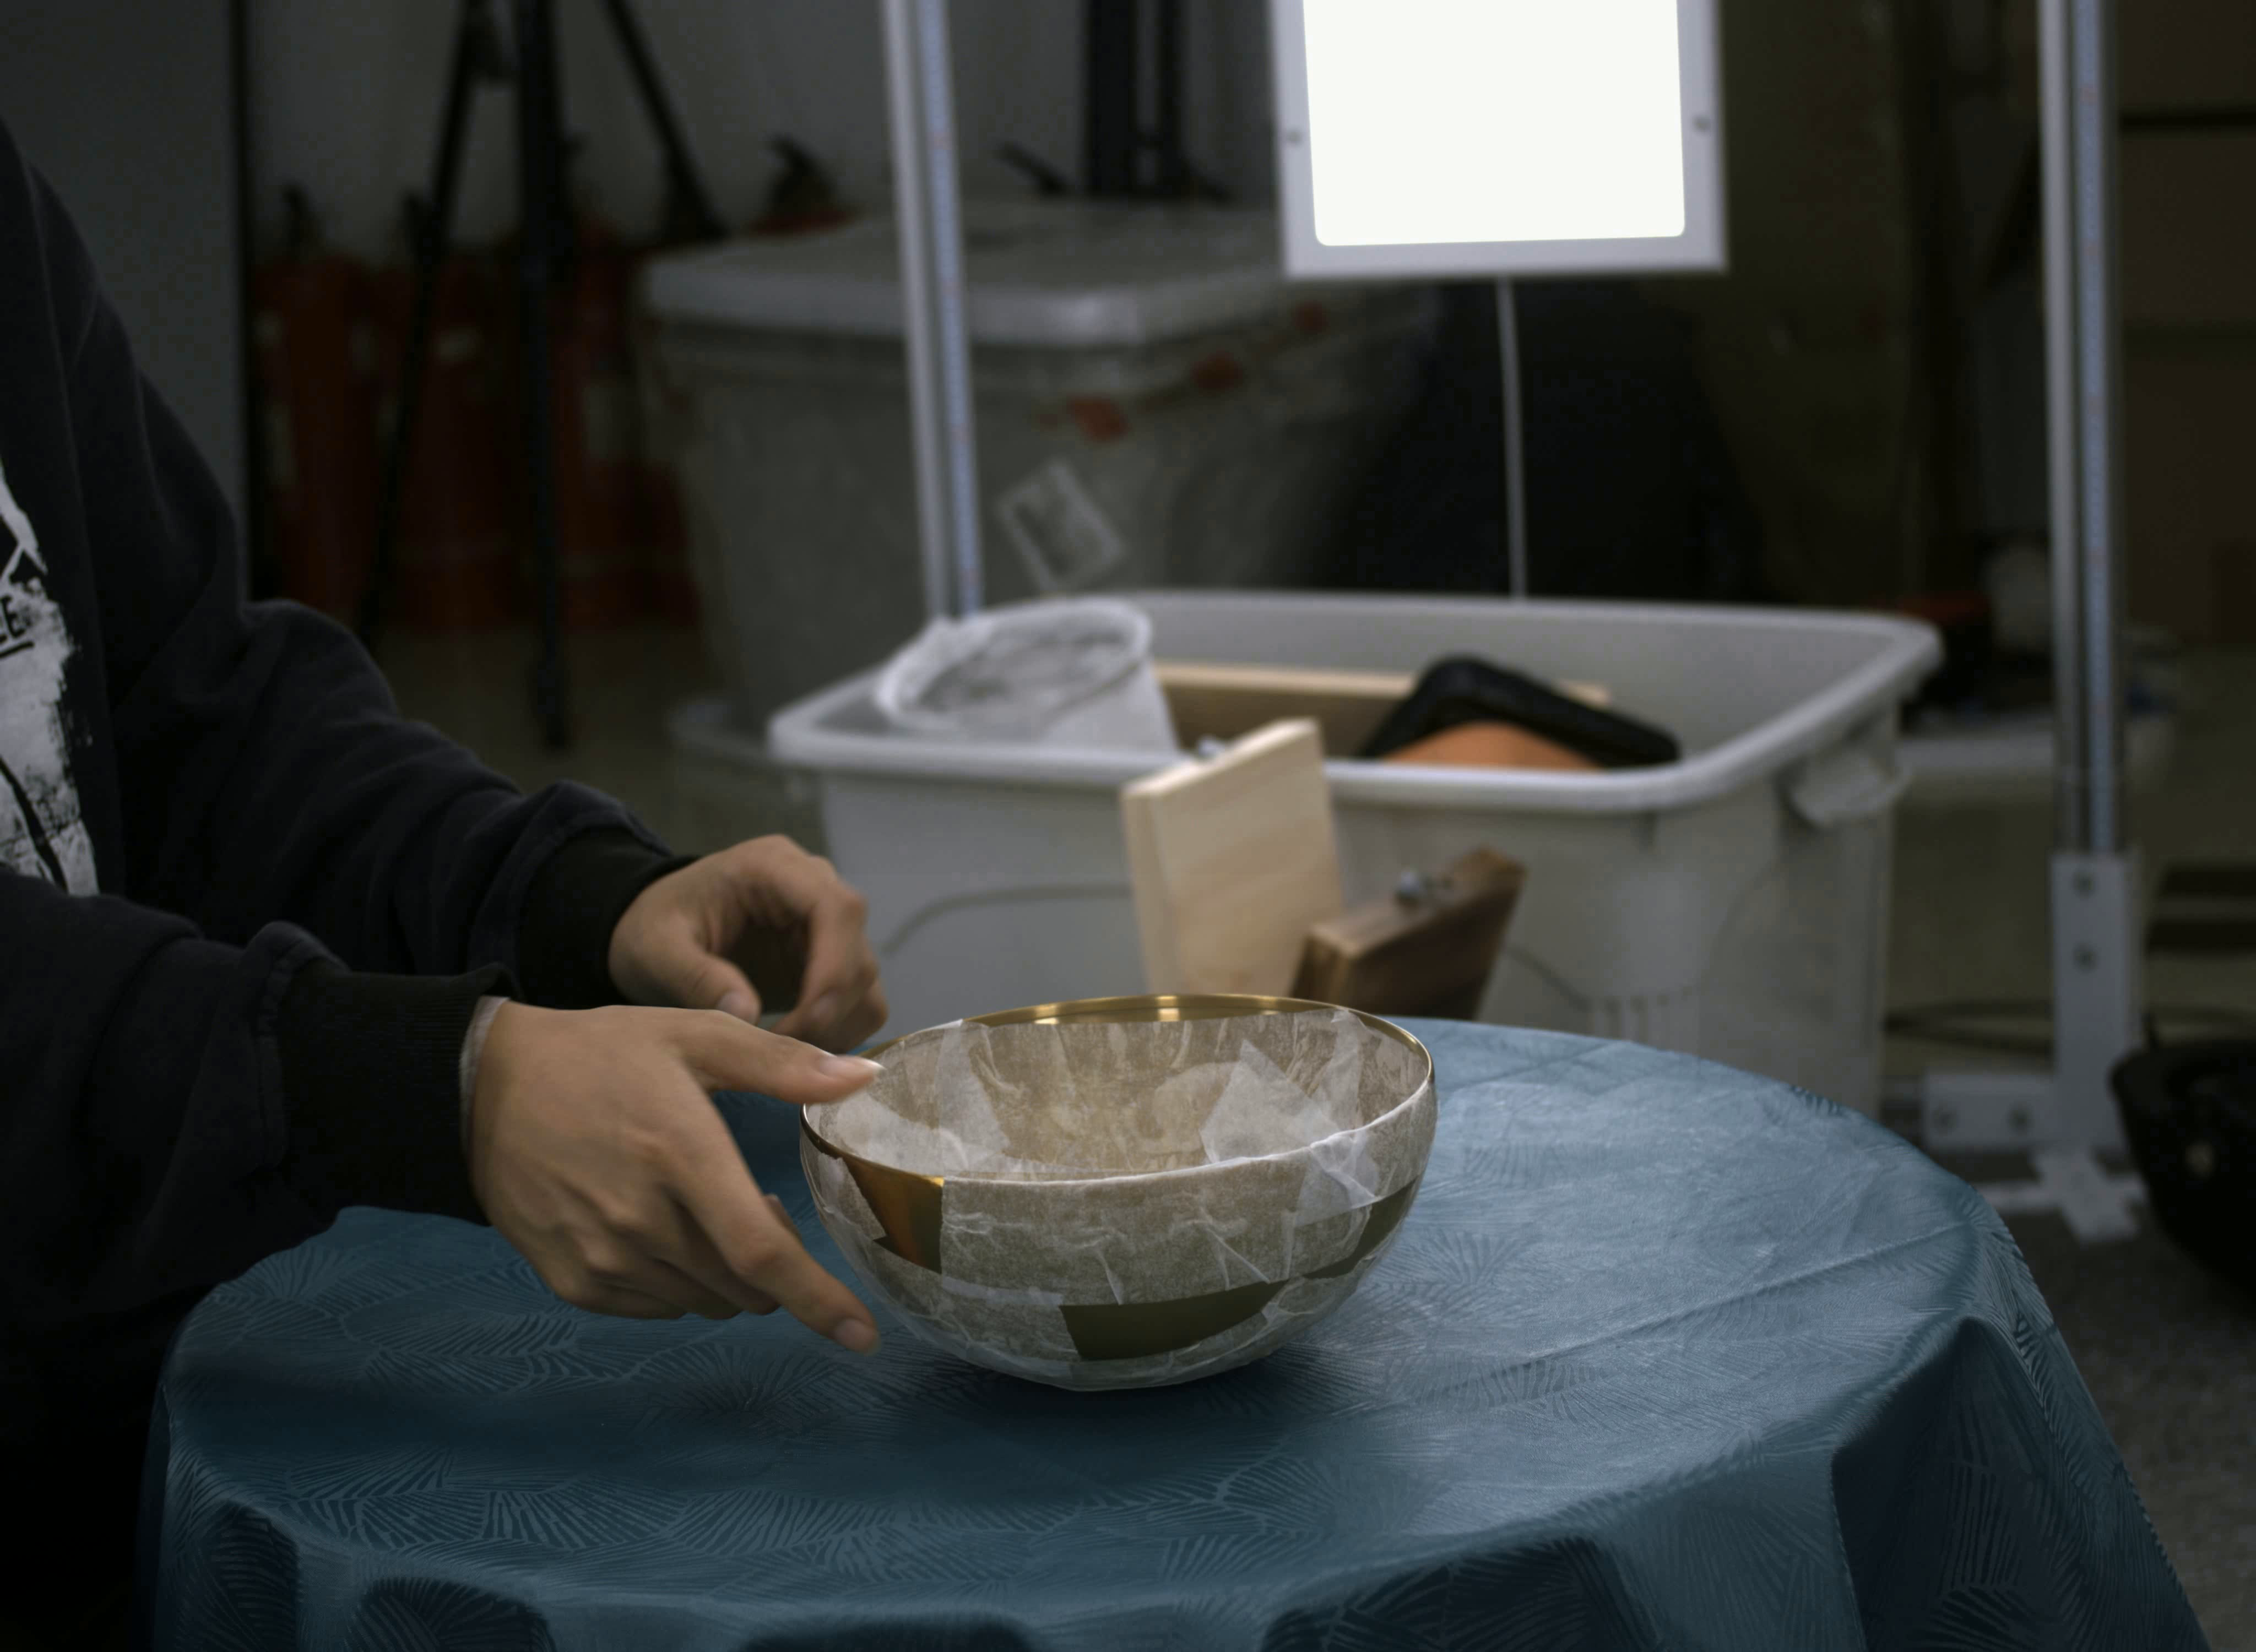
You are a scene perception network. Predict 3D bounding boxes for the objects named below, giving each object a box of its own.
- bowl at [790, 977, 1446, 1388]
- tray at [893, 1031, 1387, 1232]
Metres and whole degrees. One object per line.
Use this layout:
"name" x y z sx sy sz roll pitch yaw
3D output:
"bowl" 0.001 0.119 1.727 0.214 0.095 0.214 -6 15 0
"tray" 0.002 0.107 1.946 0.099 0.020 0.235 -16 19 -31
